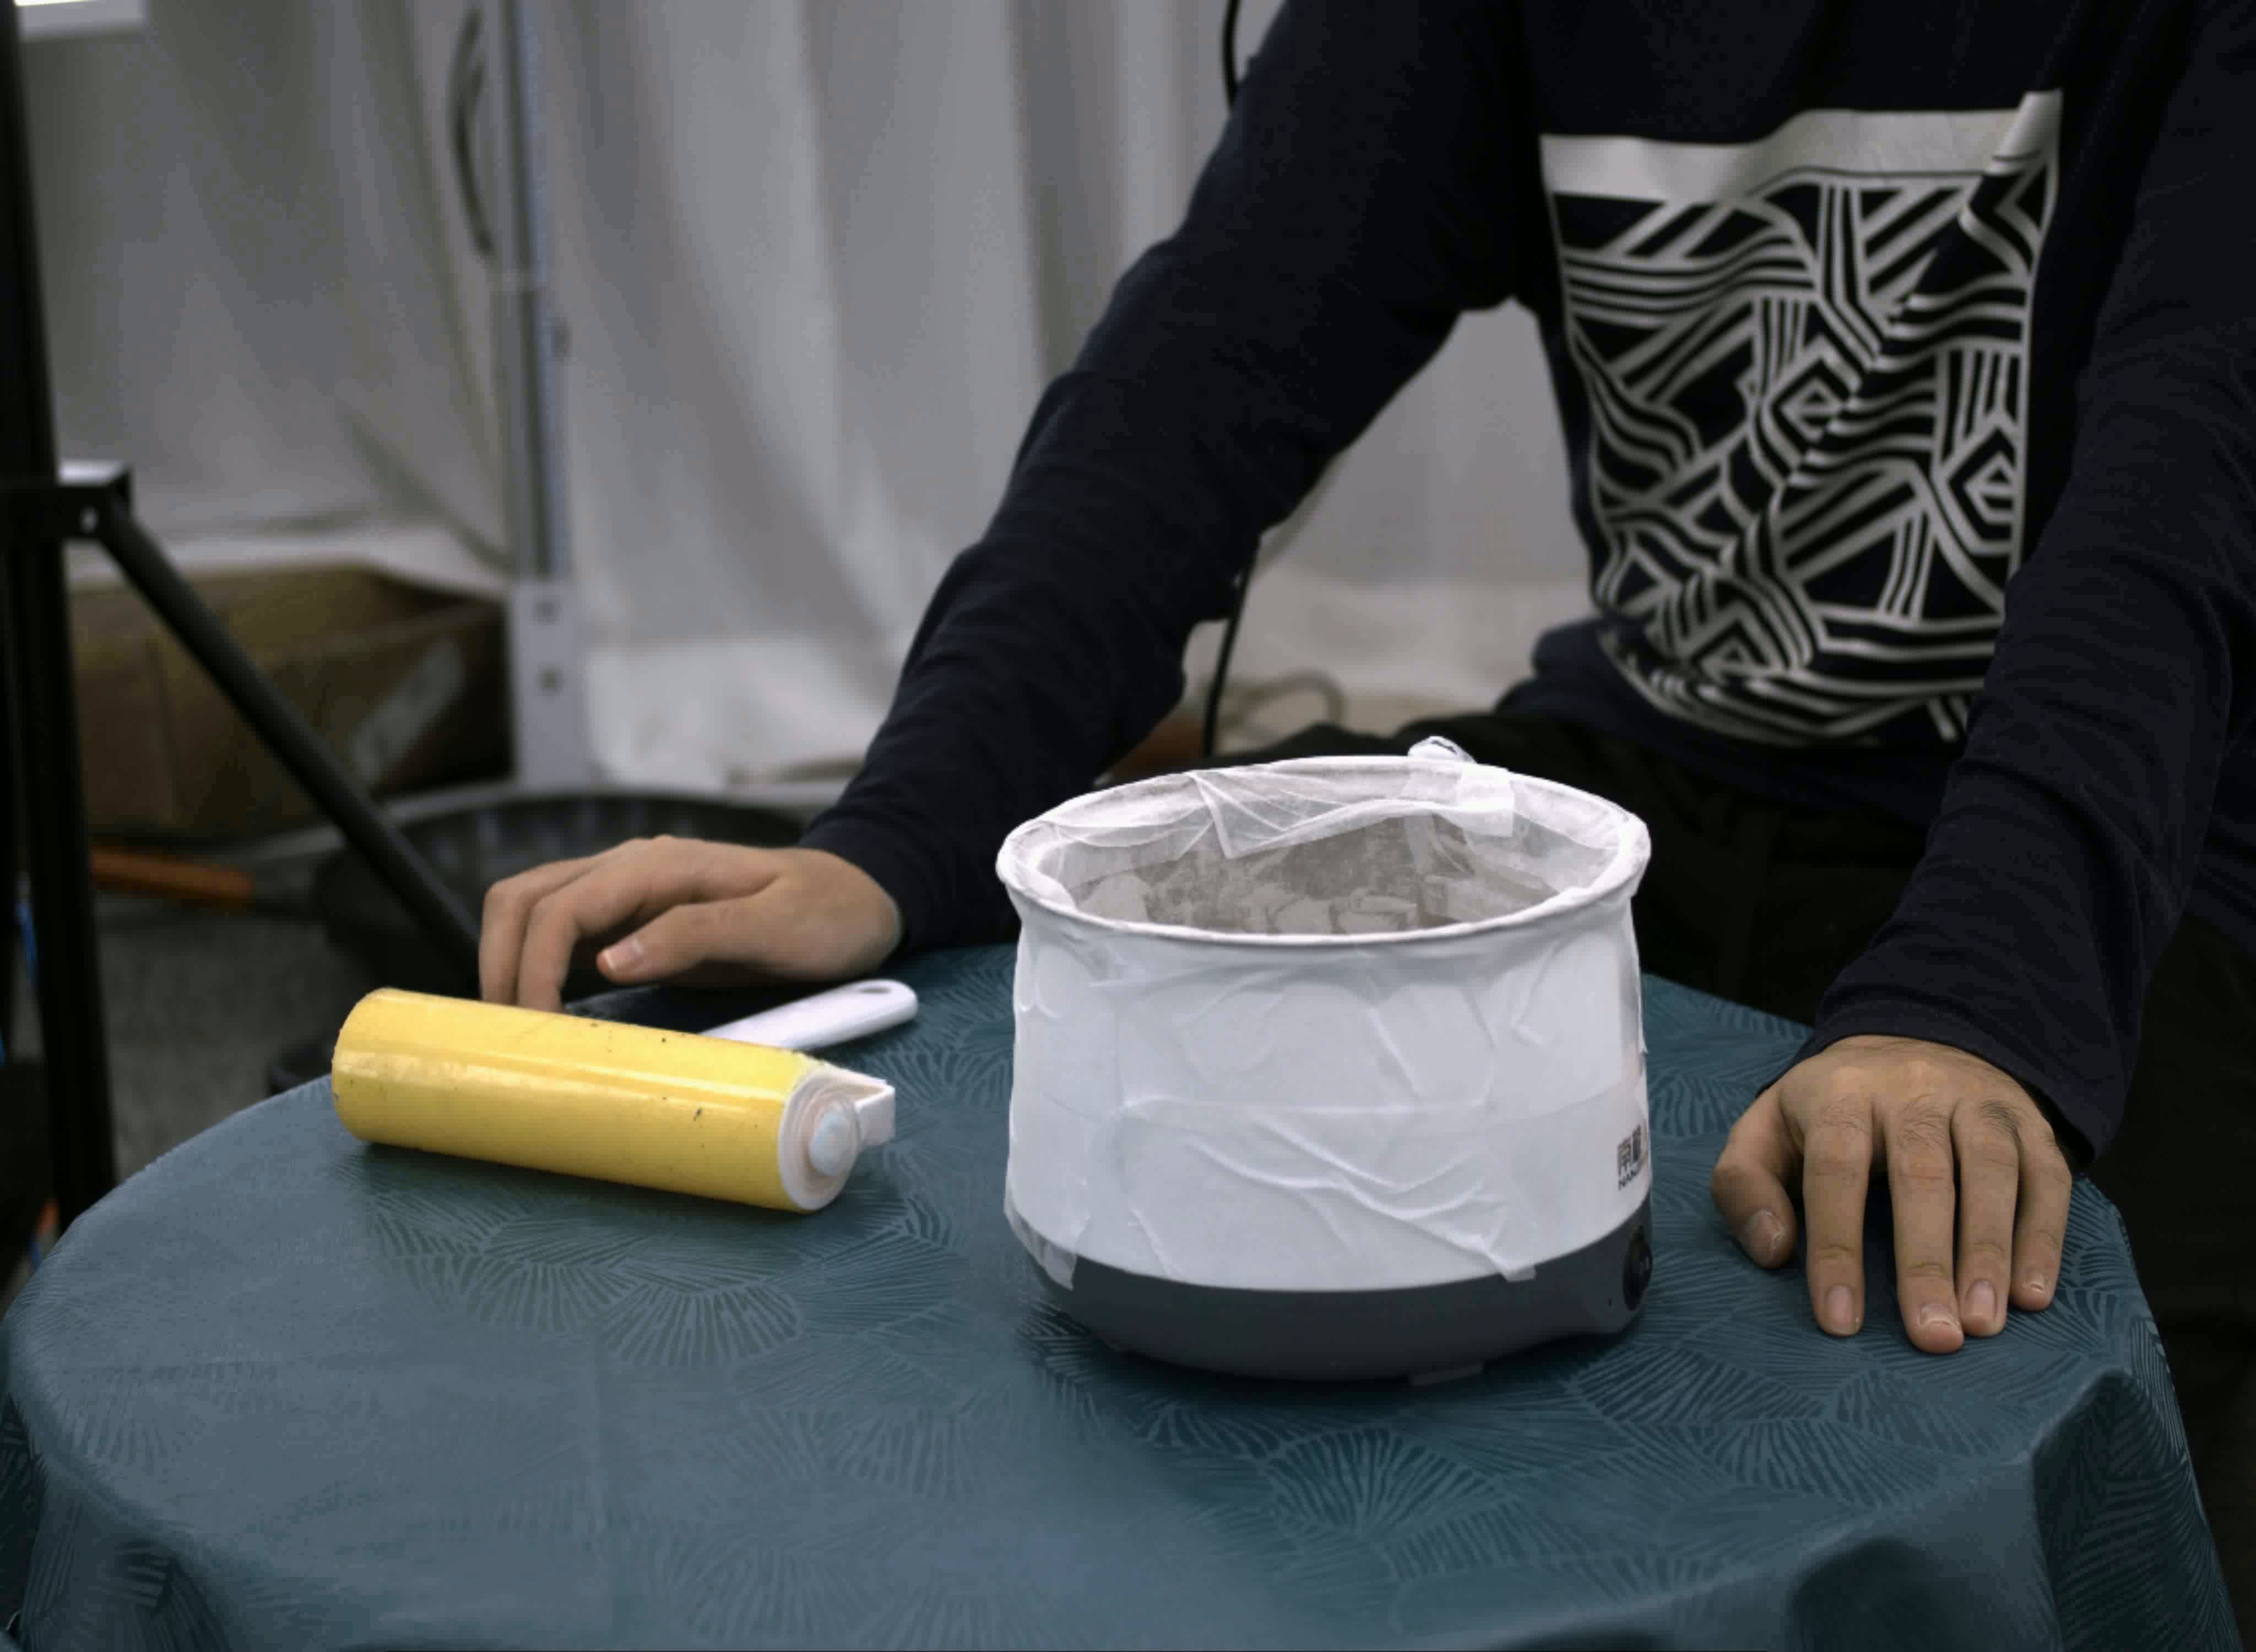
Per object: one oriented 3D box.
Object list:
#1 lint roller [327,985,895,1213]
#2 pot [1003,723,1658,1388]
[{"bbox_3d":[-0.128,0.063,1.654,0.177,0.051,0.189,7,20,28],"label":"lint roller"},{"bbox_3d":[0.064,0.057,1.474,0.181,0.136,0.231,5,18,20],"label":"pot"}]
